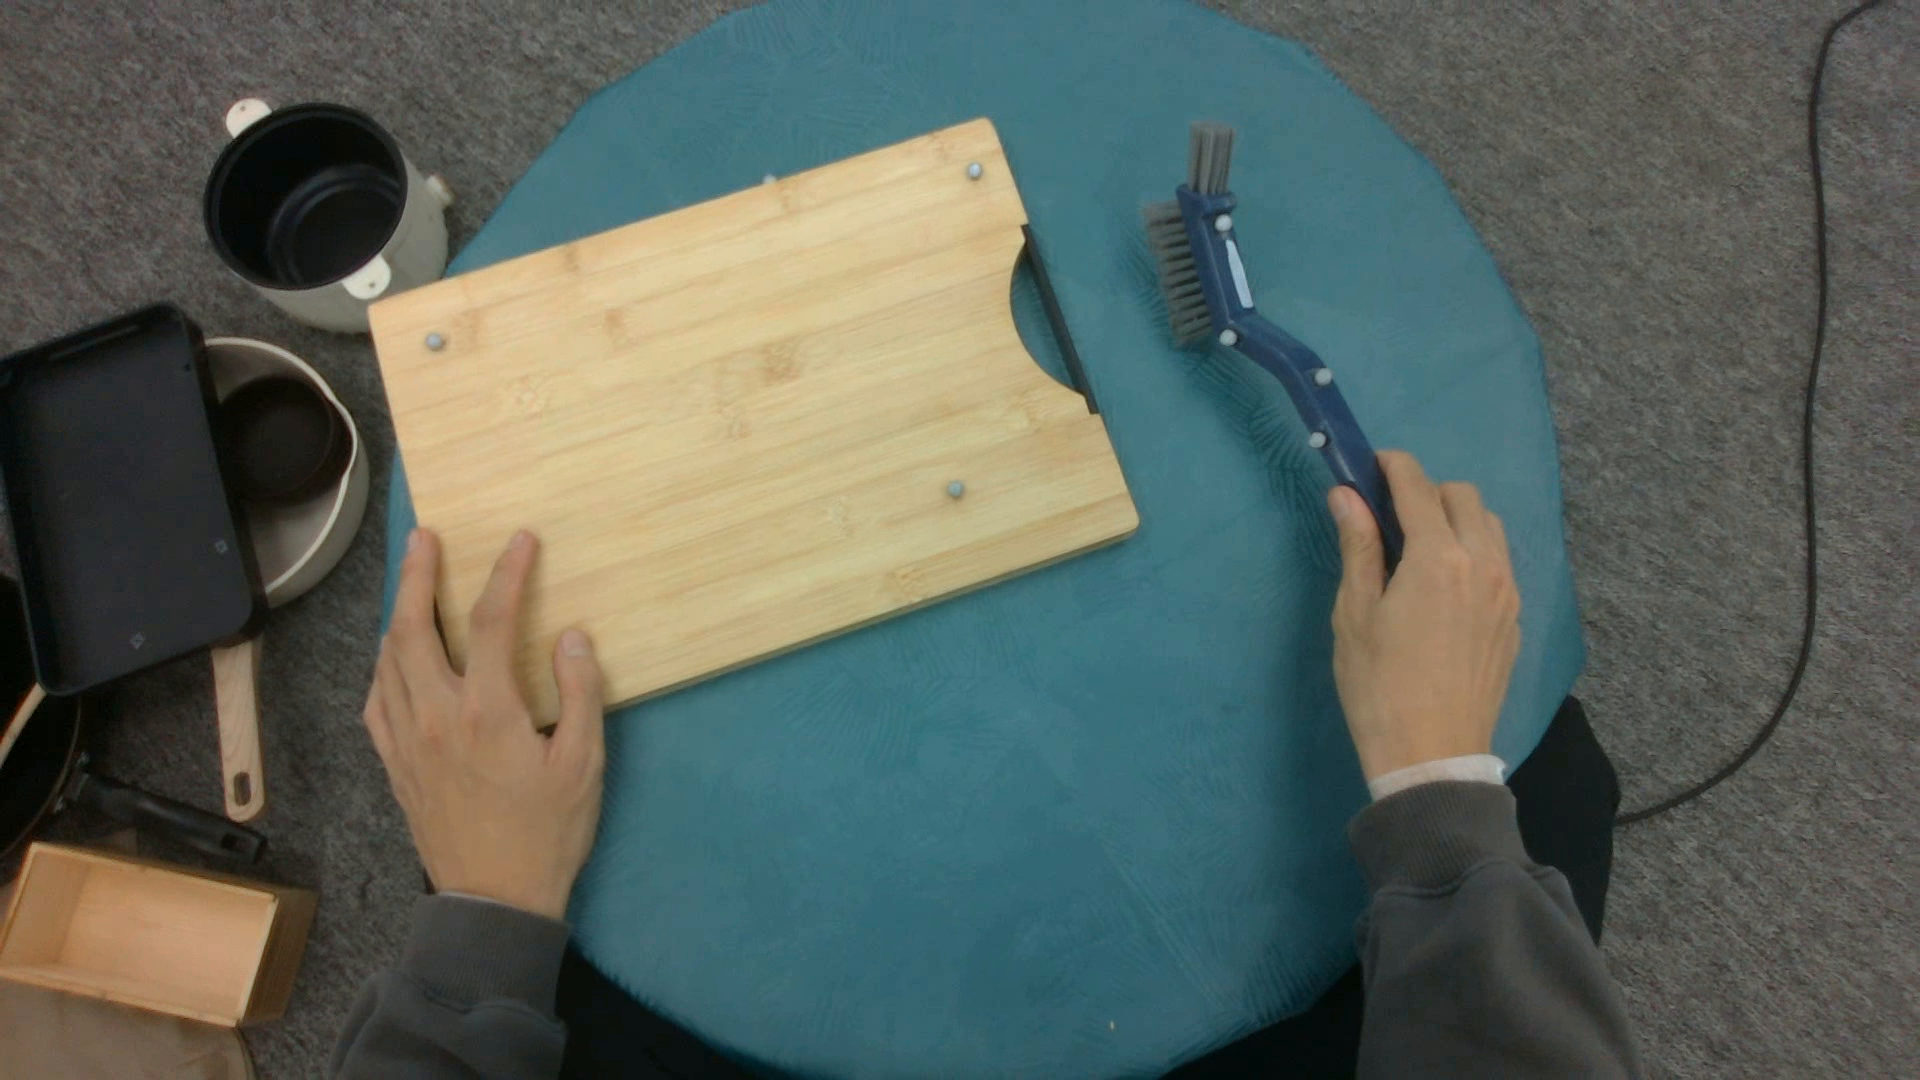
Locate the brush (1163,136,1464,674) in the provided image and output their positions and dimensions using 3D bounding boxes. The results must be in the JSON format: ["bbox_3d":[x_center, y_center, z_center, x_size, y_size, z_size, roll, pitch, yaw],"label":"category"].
[{"bbox_3d":[0.181,-0.066,0.679,0.033,0.095,0.273,-19,71,-42],"label":"brush"}]

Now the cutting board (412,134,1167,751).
[{"bbox_3d":[-0.097,-0.058,0.723,0.349,0.023,0.251,-19,76,-4],"label":"cutting board"}]
